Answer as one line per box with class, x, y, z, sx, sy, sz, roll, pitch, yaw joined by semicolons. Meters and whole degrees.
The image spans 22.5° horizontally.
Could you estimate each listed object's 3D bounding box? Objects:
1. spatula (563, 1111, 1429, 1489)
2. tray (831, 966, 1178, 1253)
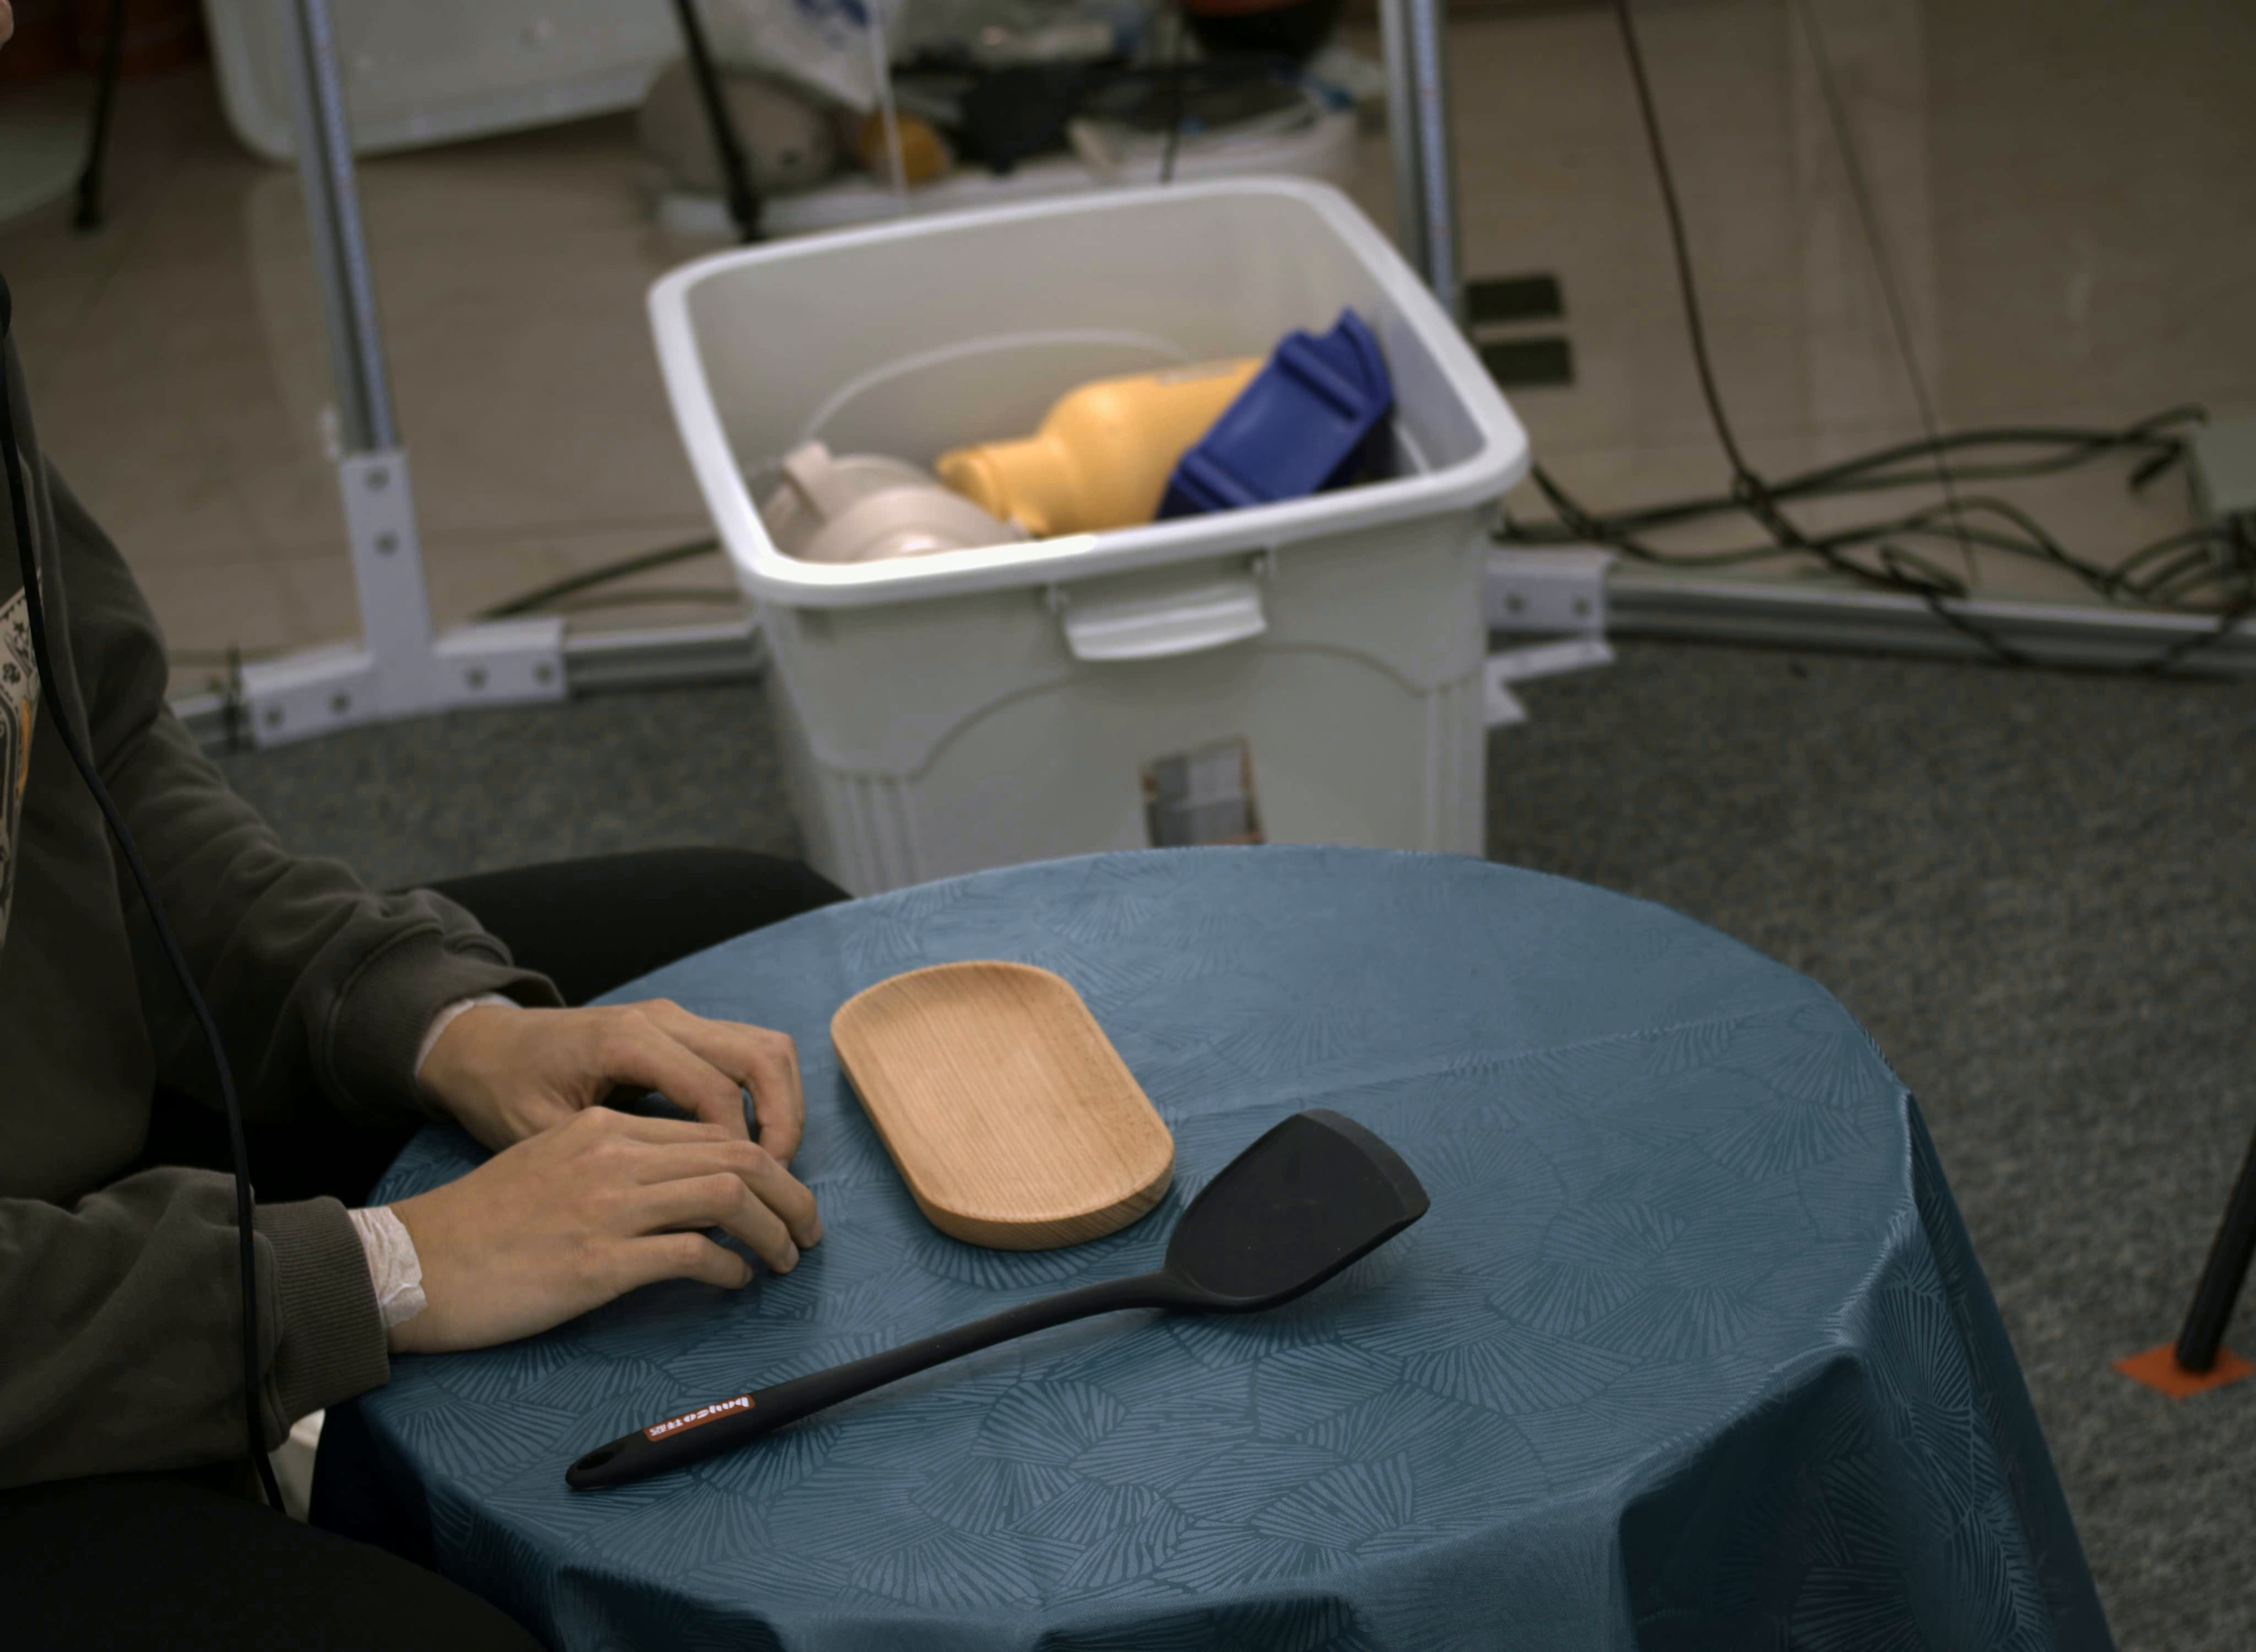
spatula;-0.051;0.176;2.036;0.325;0.041;0.098;-15;25;-18
tray;-0.049;0.108;2.206;0.101;0.020;0.228;-13;27;-12
